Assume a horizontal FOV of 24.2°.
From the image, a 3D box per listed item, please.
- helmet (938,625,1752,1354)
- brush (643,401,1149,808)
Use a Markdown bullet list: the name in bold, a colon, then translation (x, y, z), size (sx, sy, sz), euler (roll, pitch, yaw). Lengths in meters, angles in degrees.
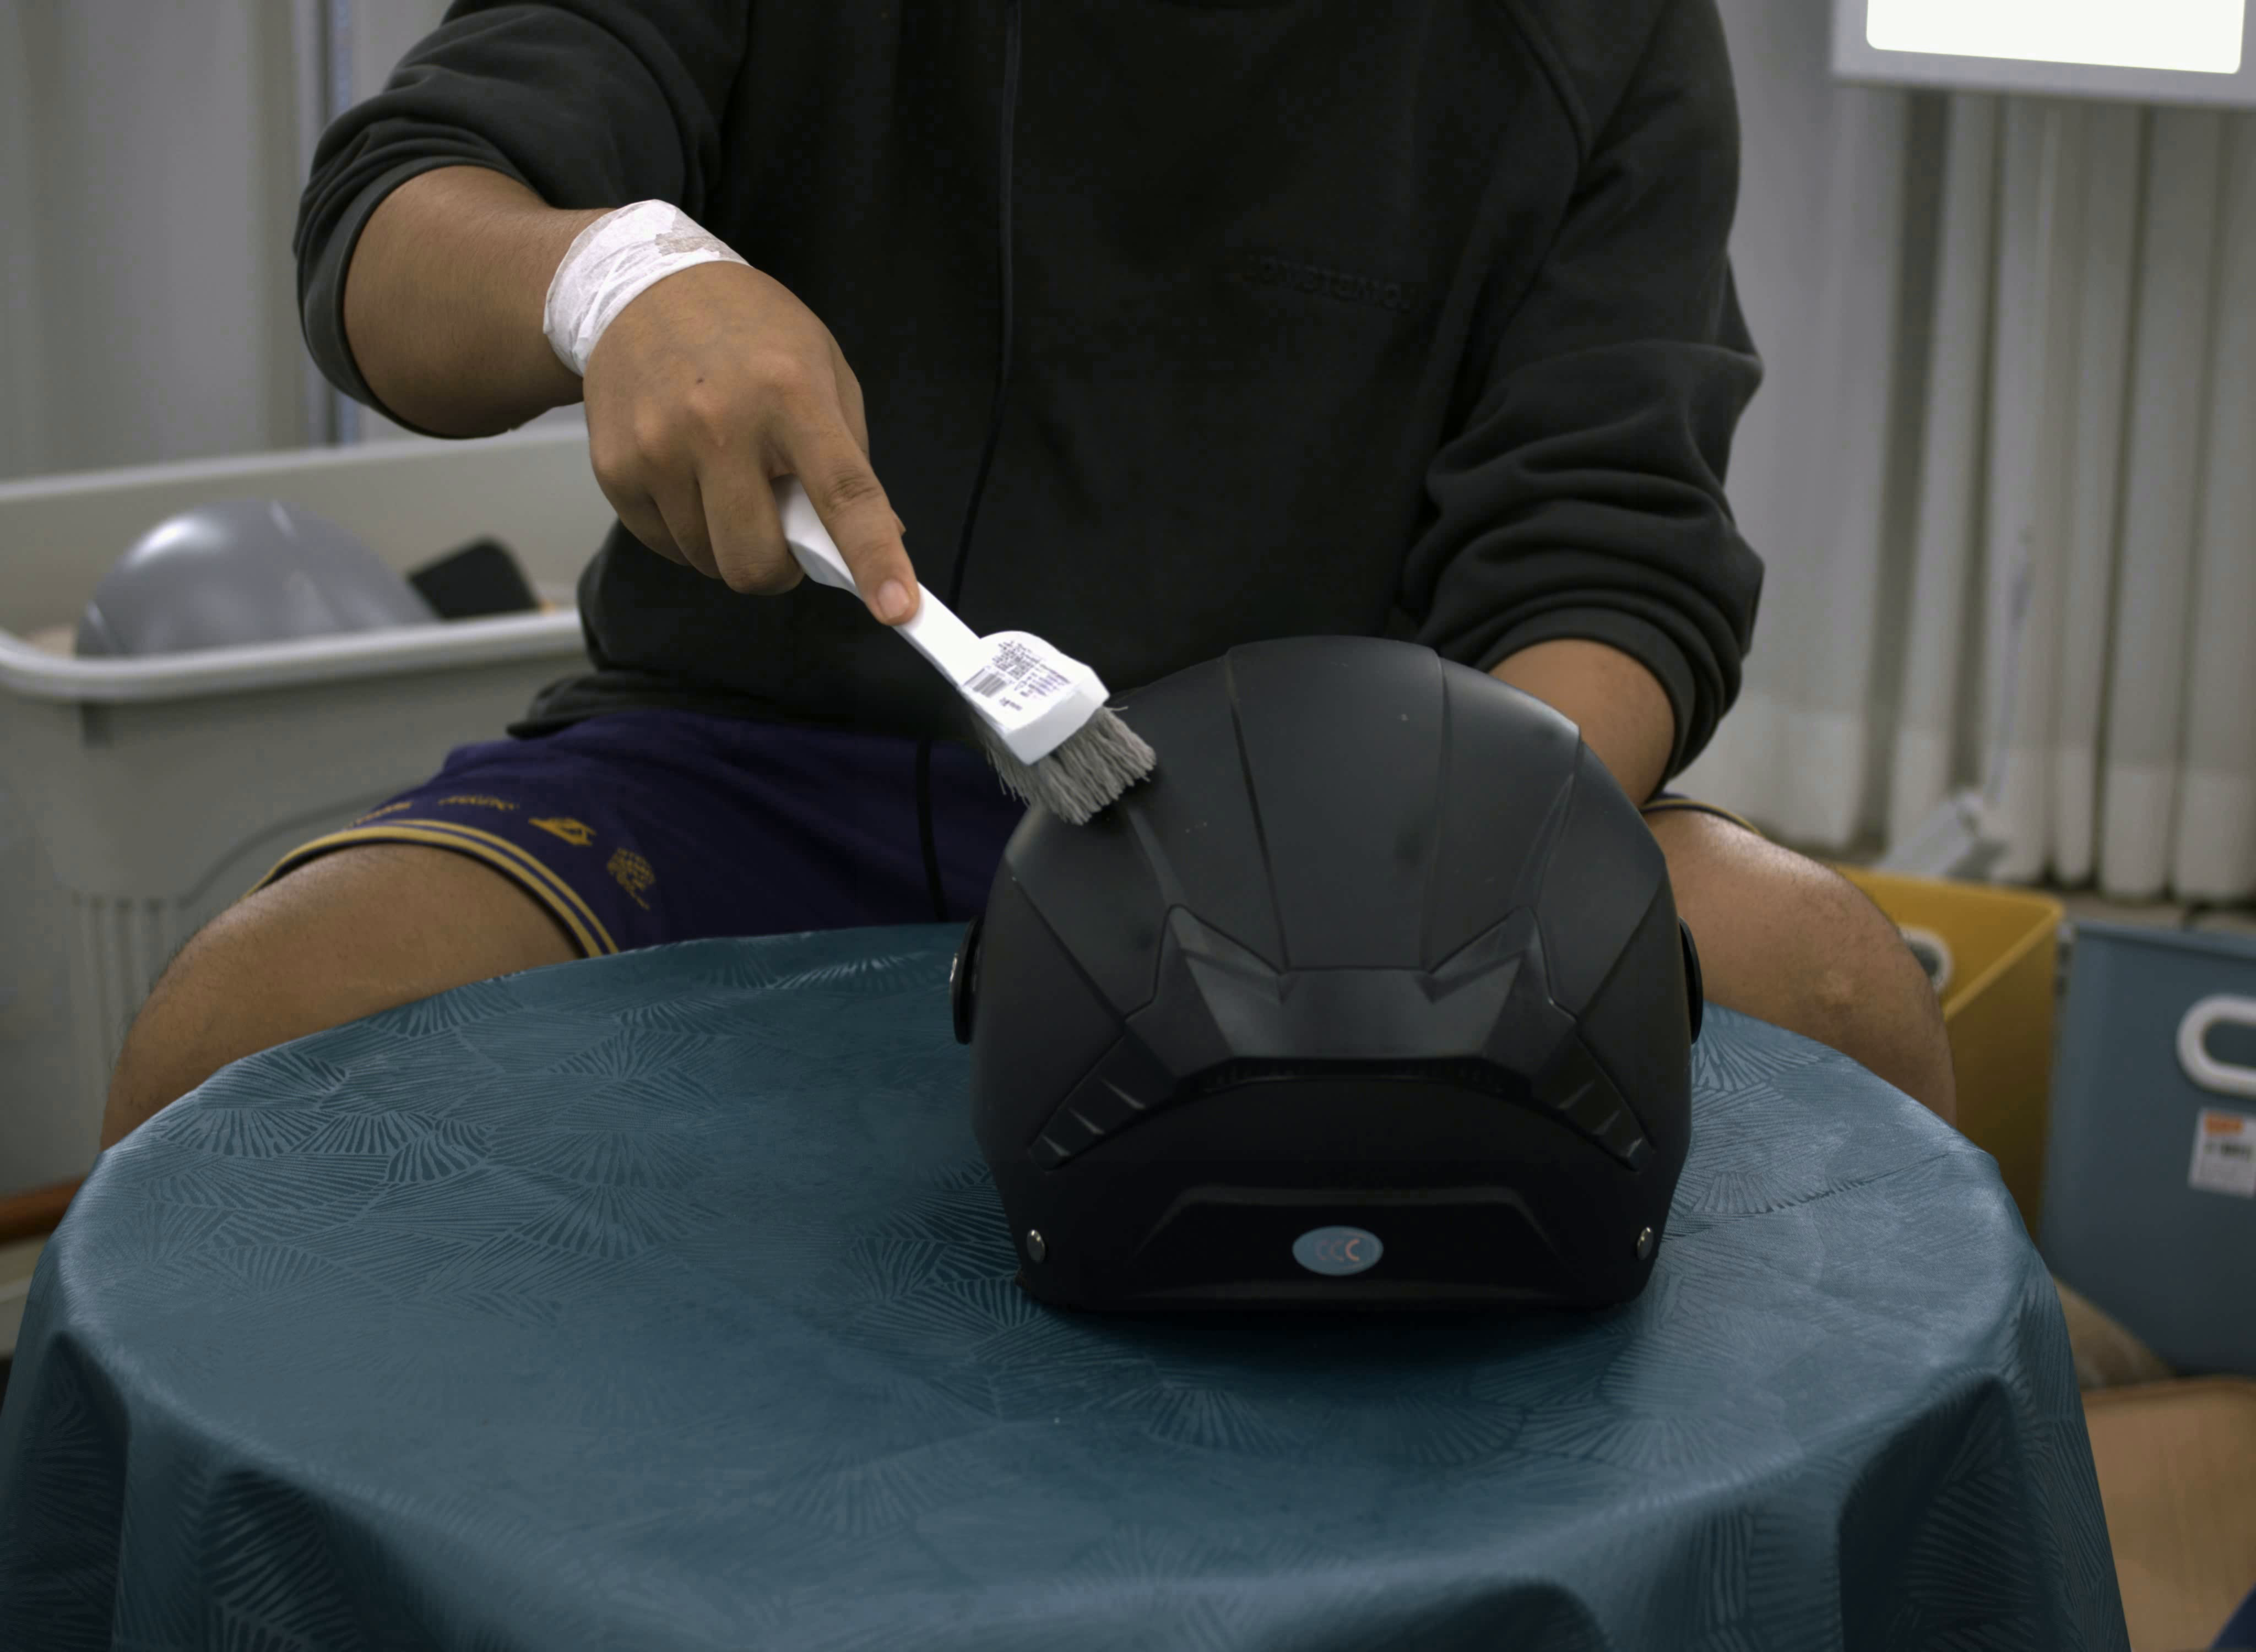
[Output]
- **helmet**: translation (0.064, 0.030, 1.560), size (0.246, 0.174, 0.274), euler (2, 34, 0)
- **brush**: translation (-0.072, -0.067, 1.577), size (0.034, 0.051, 0.240), euler (-41, 42, -12)
